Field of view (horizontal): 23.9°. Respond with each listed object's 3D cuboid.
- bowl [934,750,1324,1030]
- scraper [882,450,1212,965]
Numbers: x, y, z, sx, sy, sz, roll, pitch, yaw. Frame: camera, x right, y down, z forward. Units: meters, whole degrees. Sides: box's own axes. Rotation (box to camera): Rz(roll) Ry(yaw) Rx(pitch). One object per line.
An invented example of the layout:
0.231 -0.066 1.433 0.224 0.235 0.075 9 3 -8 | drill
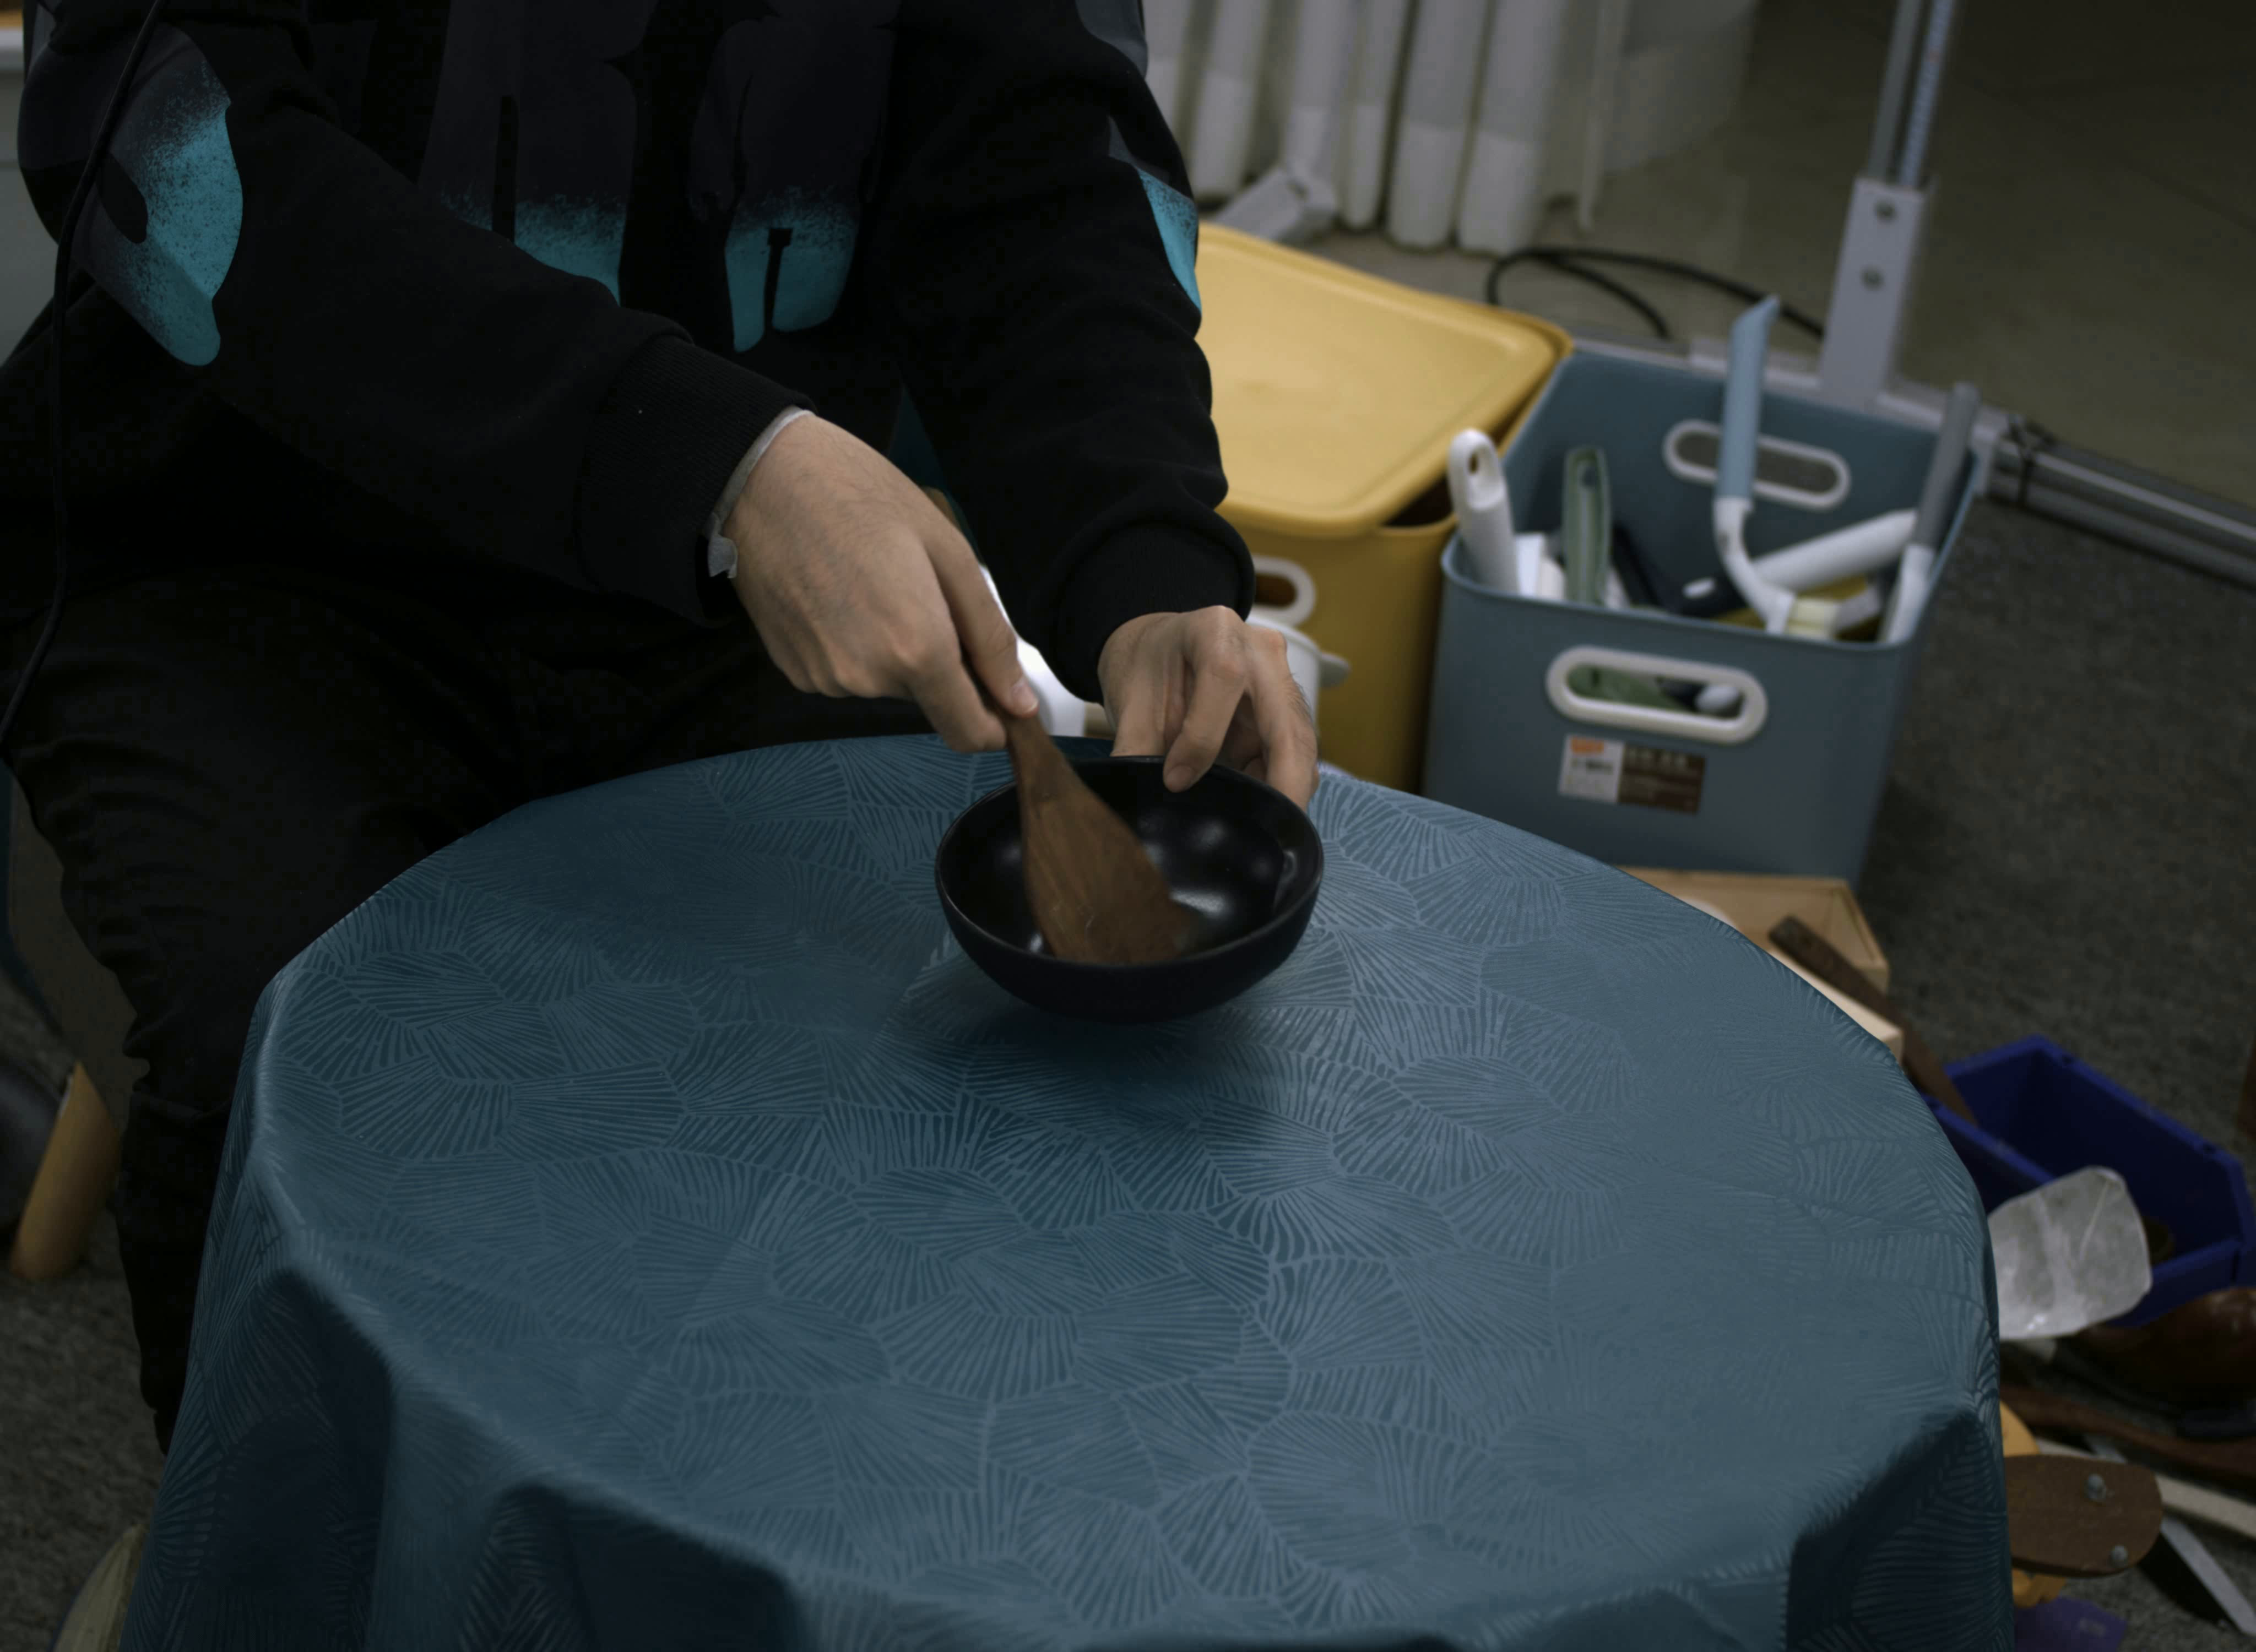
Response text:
0.002 0.031 1.895 0.140 0.049 0.141 -5 33 3 | bowl
-0.035 -0.036 1.887 0.011 0.211 0.075 -27 -1 39 | scraper
